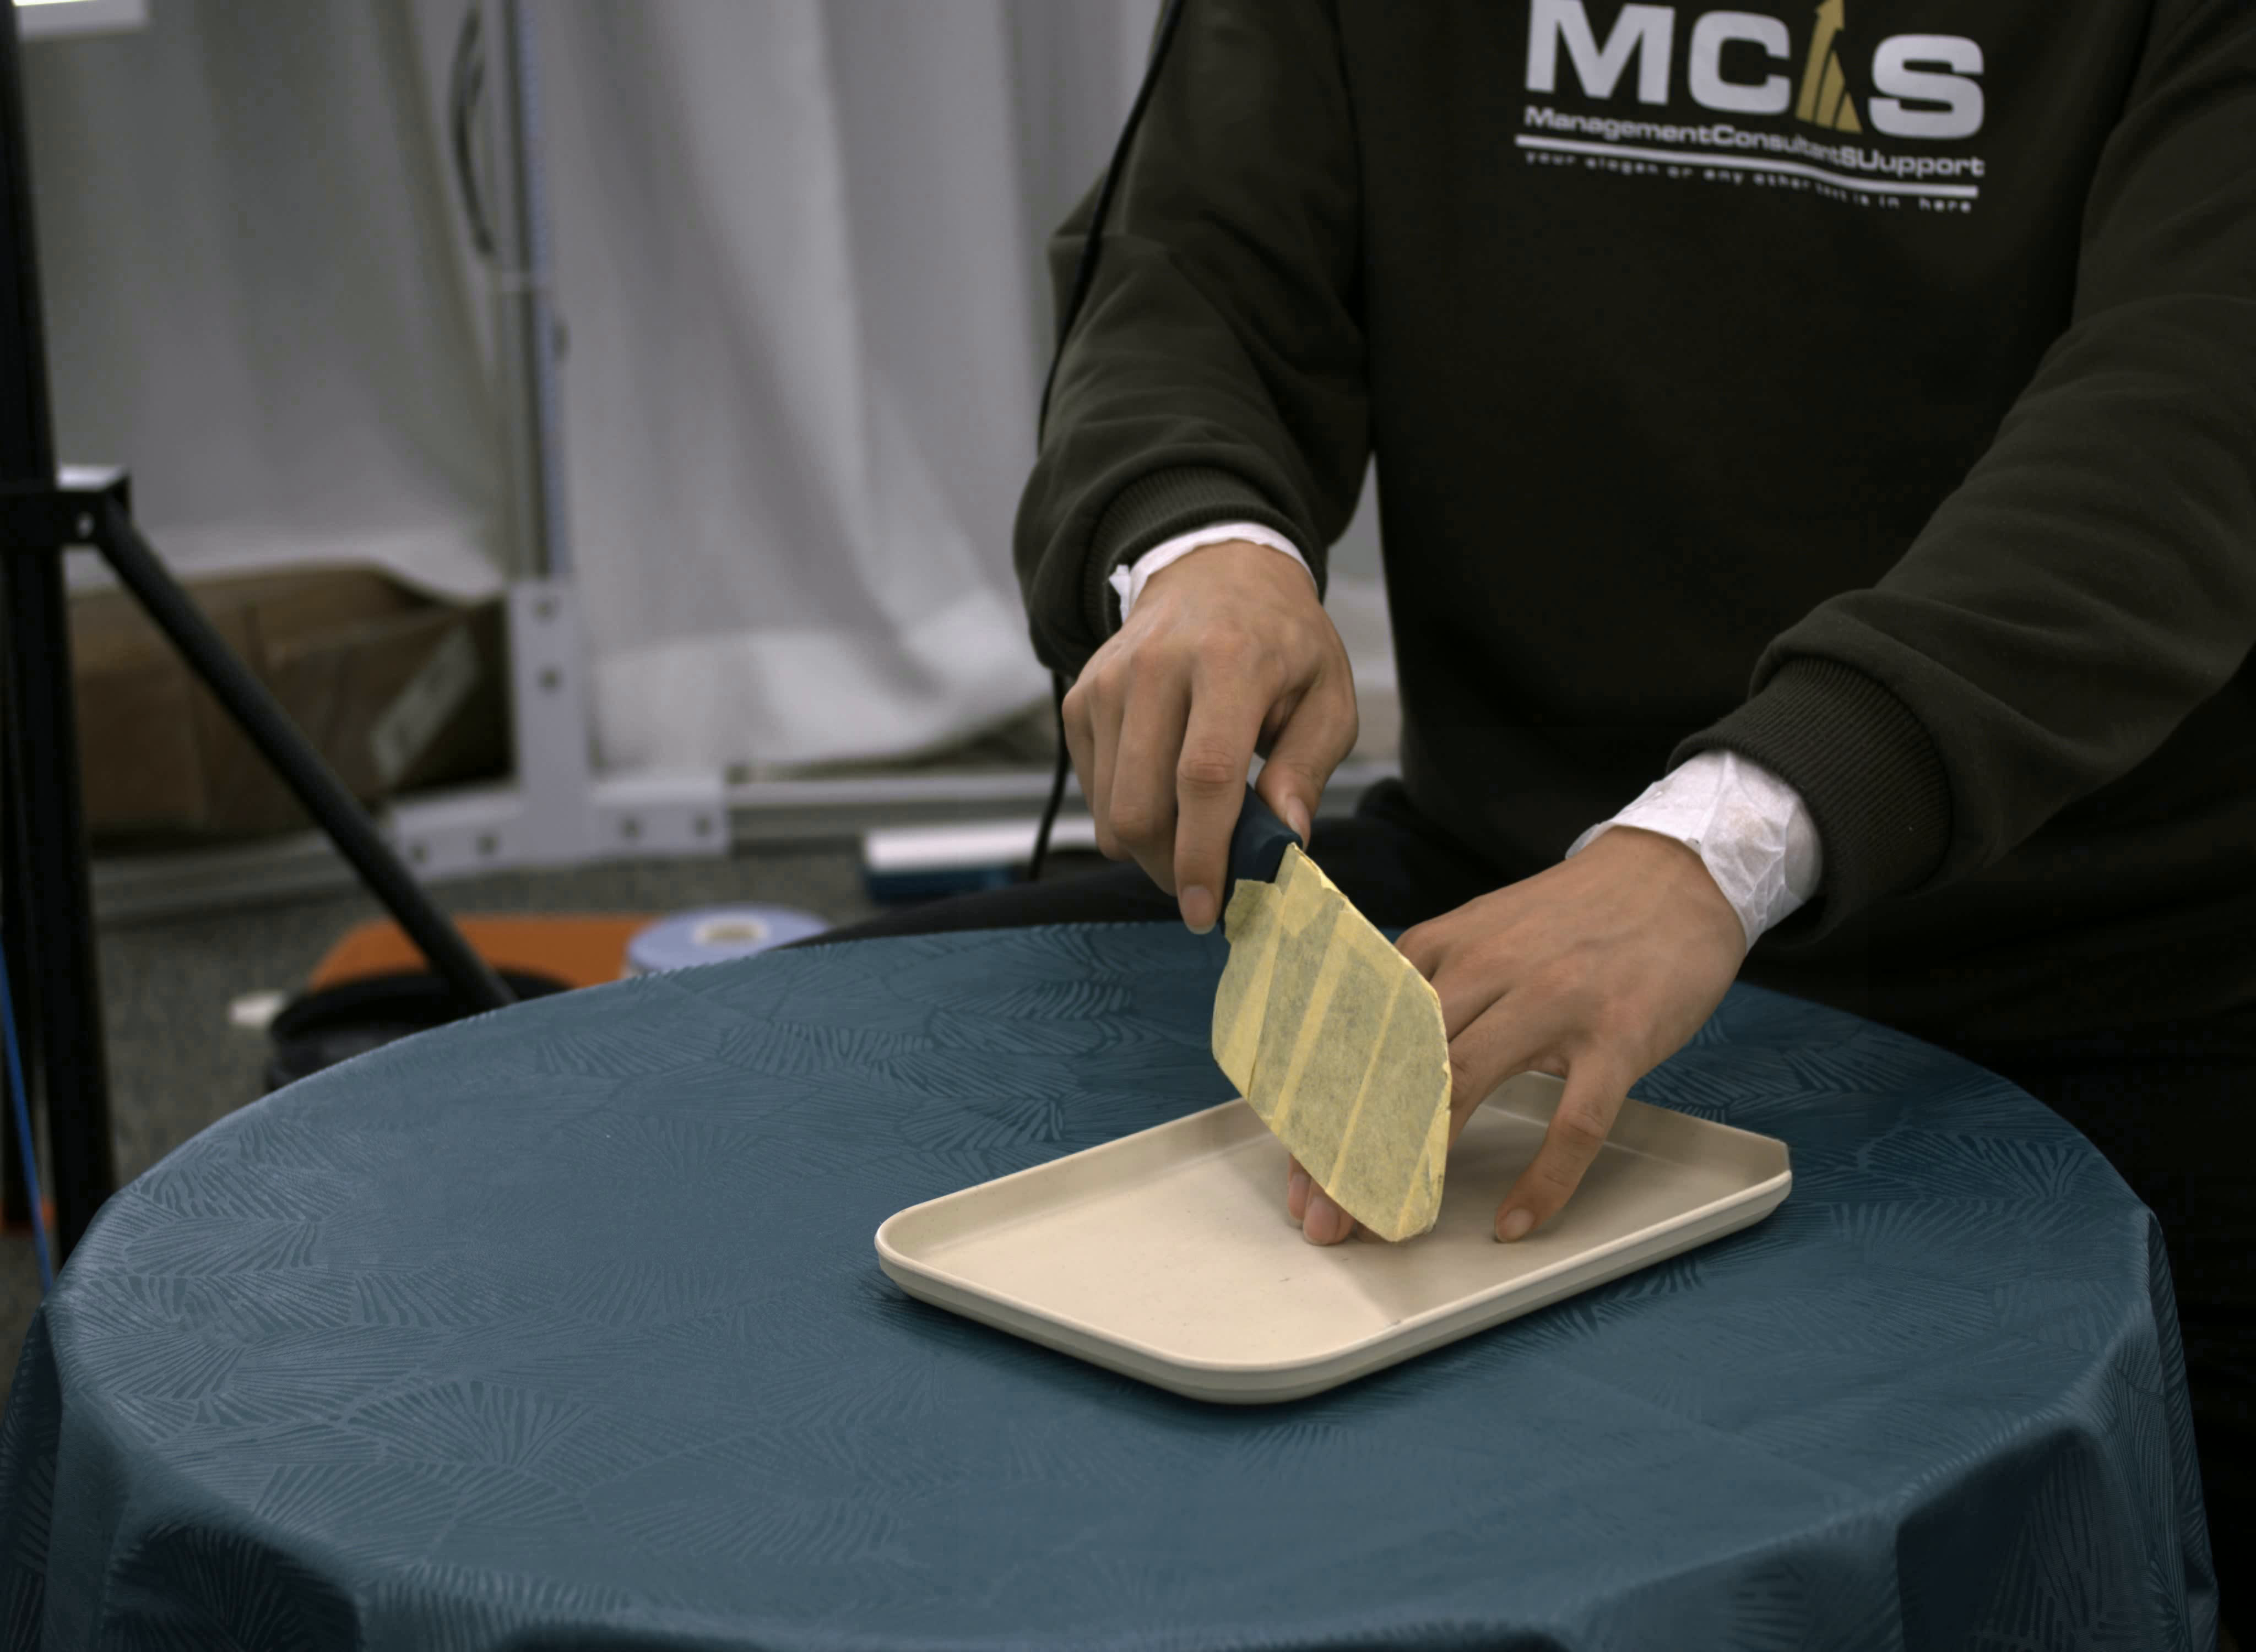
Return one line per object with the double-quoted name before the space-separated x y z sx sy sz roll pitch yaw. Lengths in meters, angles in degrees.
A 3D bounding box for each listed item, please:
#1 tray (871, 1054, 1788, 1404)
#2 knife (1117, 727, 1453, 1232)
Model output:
"tray" 0.059 0.112 1.504 0.234 0.017 0.175 -16 20 -40
"knife" 0.043 0.040 1.552 0.026 0.081 0.294 14 18 -22
